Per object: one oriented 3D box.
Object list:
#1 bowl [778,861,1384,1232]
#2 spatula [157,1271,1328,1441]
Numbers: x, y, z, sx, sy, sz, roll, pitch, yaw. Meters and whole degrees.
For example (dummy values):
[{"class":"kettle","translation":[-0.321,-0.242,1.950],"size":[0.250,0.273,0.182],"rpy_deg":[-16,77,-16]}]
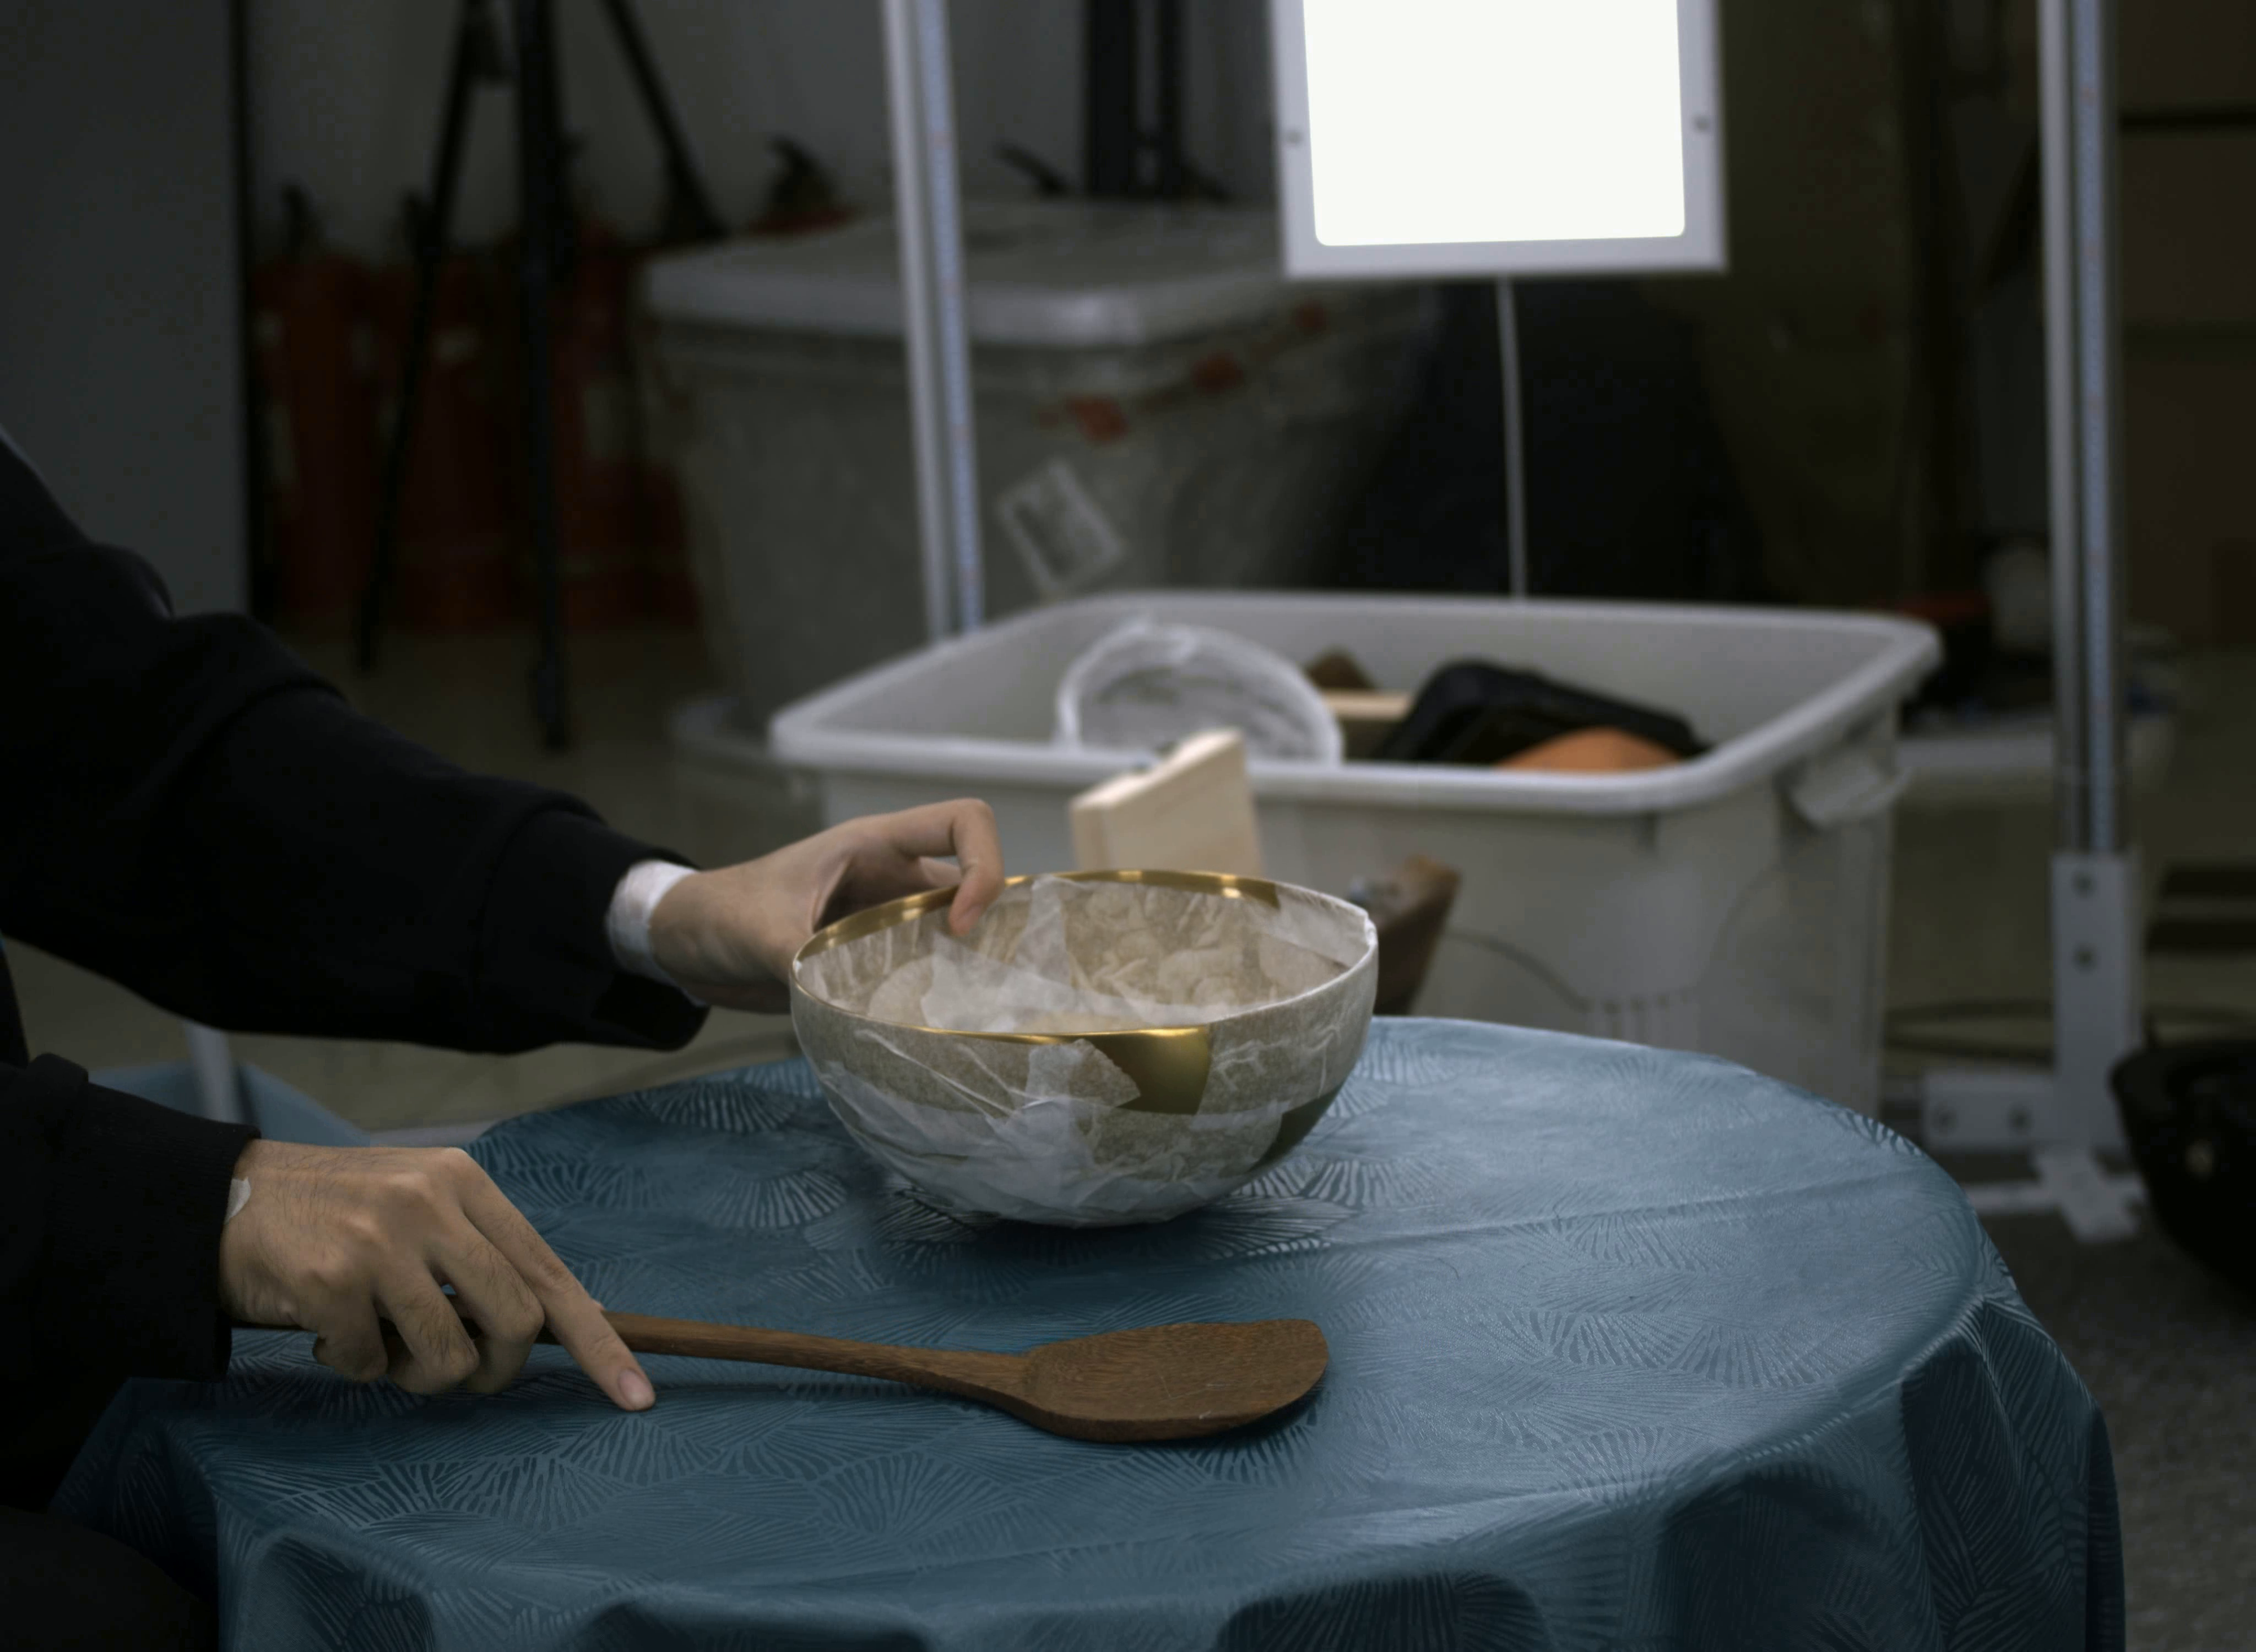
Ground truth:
[{"class":"bowl","translation":[-0.014,0.083,1.883],"size":[0.214,0.095,0.214],"rpy_deg":[-5,16,0]},{"class":"spatula","translation":[-0.127,0.162,1.735],"size":[0.390,0.016,0.094],"rpy_deg":[4,15,17]}]
